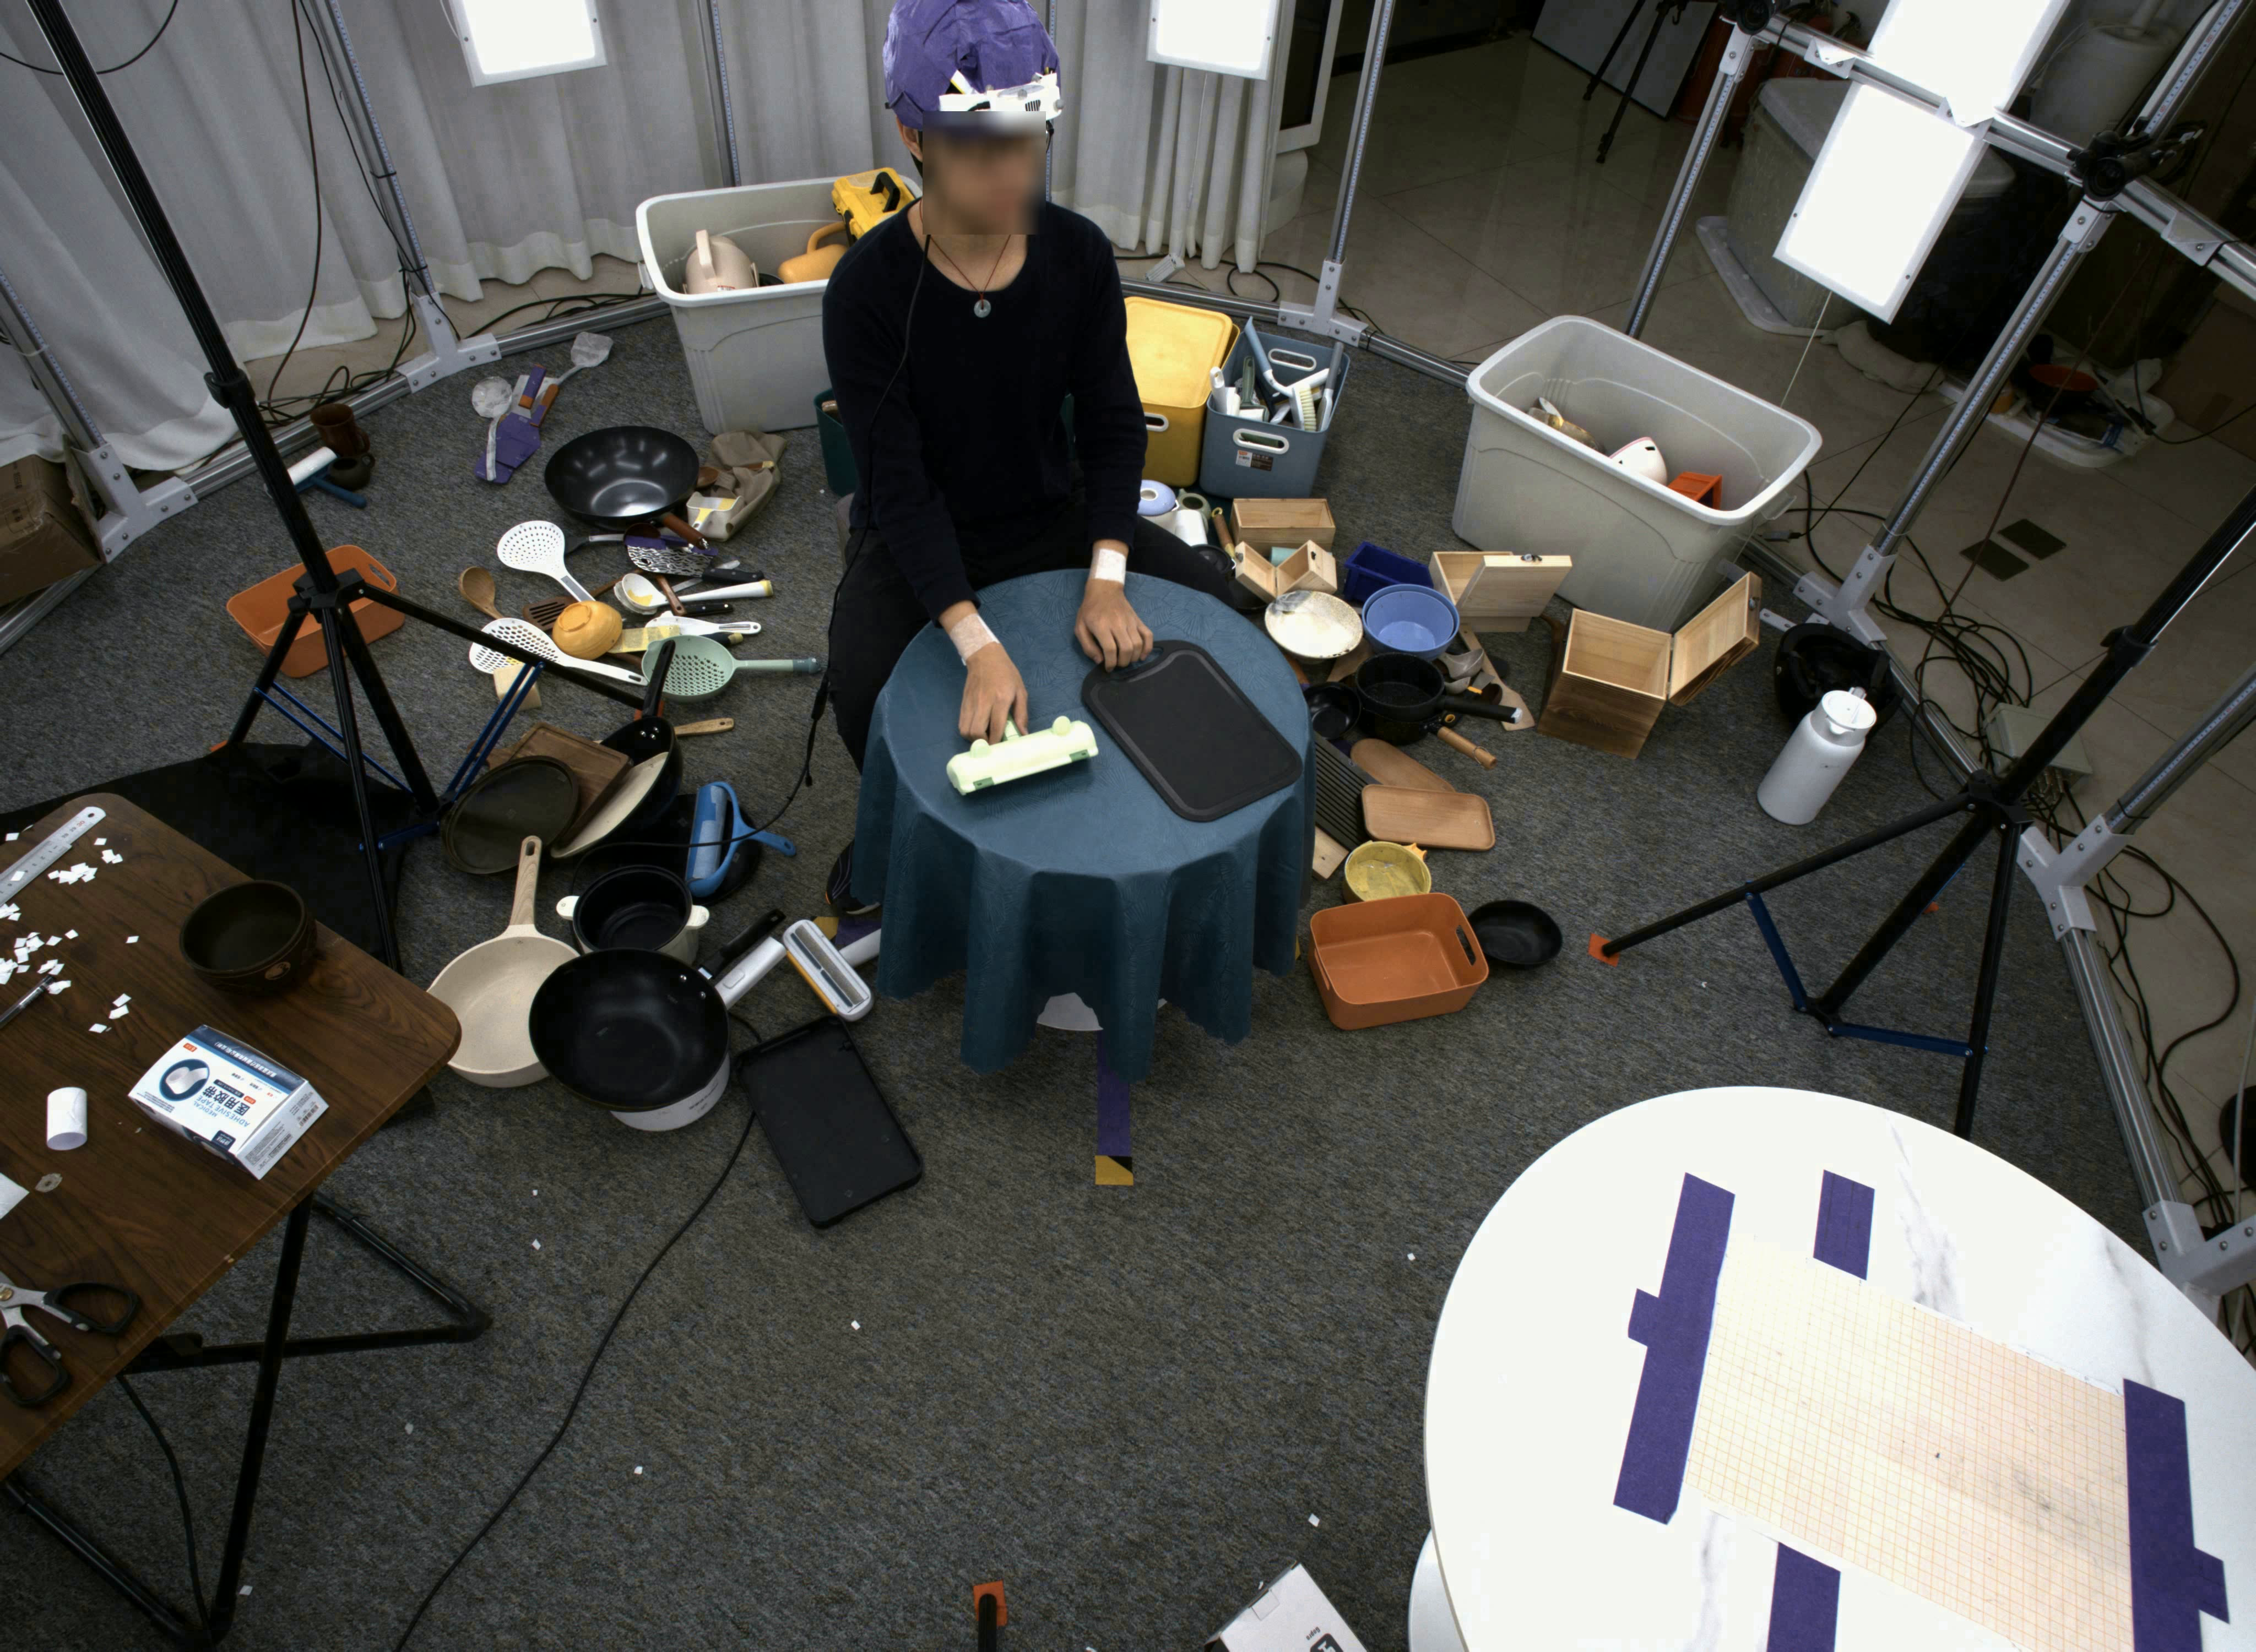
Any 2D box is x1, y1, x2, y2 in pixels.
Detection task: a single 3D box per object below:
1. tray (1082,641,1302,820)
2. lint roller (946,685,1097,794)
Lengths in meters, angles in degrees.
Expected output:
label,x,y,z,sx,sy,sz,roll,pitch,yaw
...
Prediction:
label,x,y,z,sx,sy,sz,roll,pitch,yaw
tray,0.081,-0.146,1.792,0.212,0.009,0.332,-23,56,-22
lint roller,-0.163,-0.140,1.724,0.199,0.080,0.187,-17,59,-19
